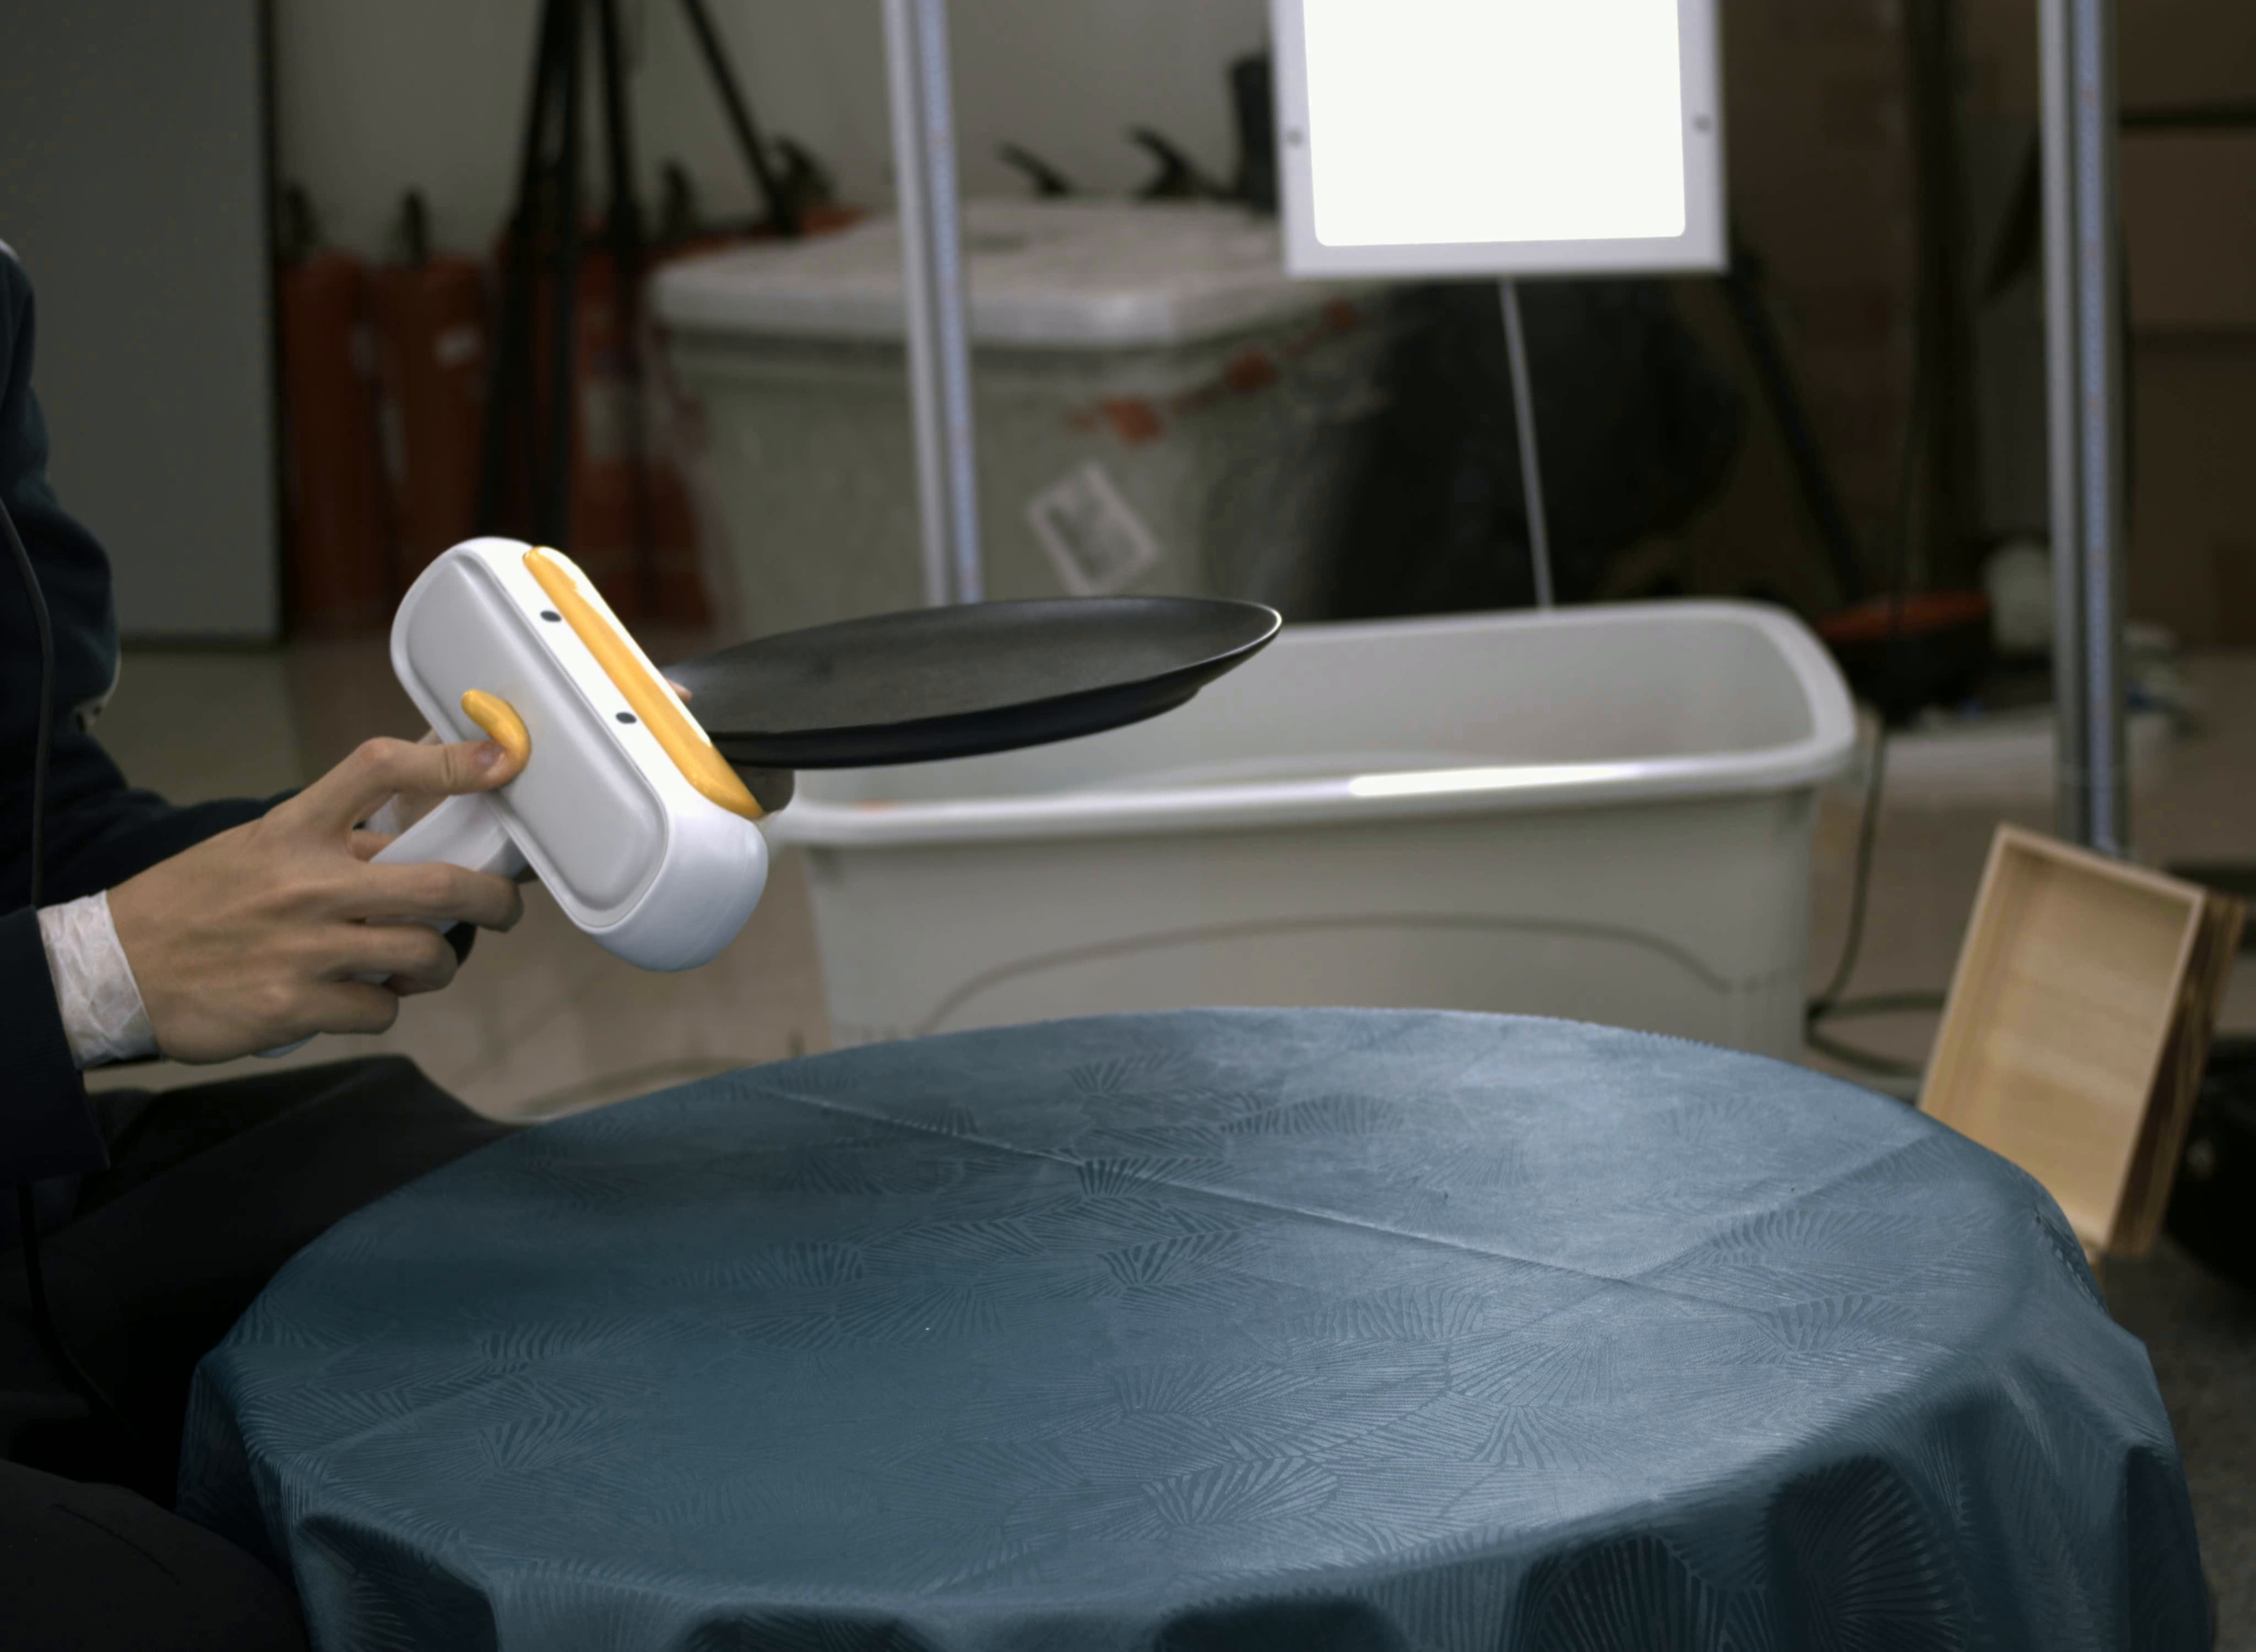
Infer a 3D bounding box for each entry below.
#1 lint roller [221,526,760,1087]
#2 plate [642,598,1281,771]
[{"bbox_3d":[-0.235,0.013,1.906,0.195,0.194,0.073,45,12,34],"label":"lint roller"},{"bbox_3d":[-0.064,-0.050,1.970,0.244,0.023,0.244,-8,10,0],"label":"plate"}]
